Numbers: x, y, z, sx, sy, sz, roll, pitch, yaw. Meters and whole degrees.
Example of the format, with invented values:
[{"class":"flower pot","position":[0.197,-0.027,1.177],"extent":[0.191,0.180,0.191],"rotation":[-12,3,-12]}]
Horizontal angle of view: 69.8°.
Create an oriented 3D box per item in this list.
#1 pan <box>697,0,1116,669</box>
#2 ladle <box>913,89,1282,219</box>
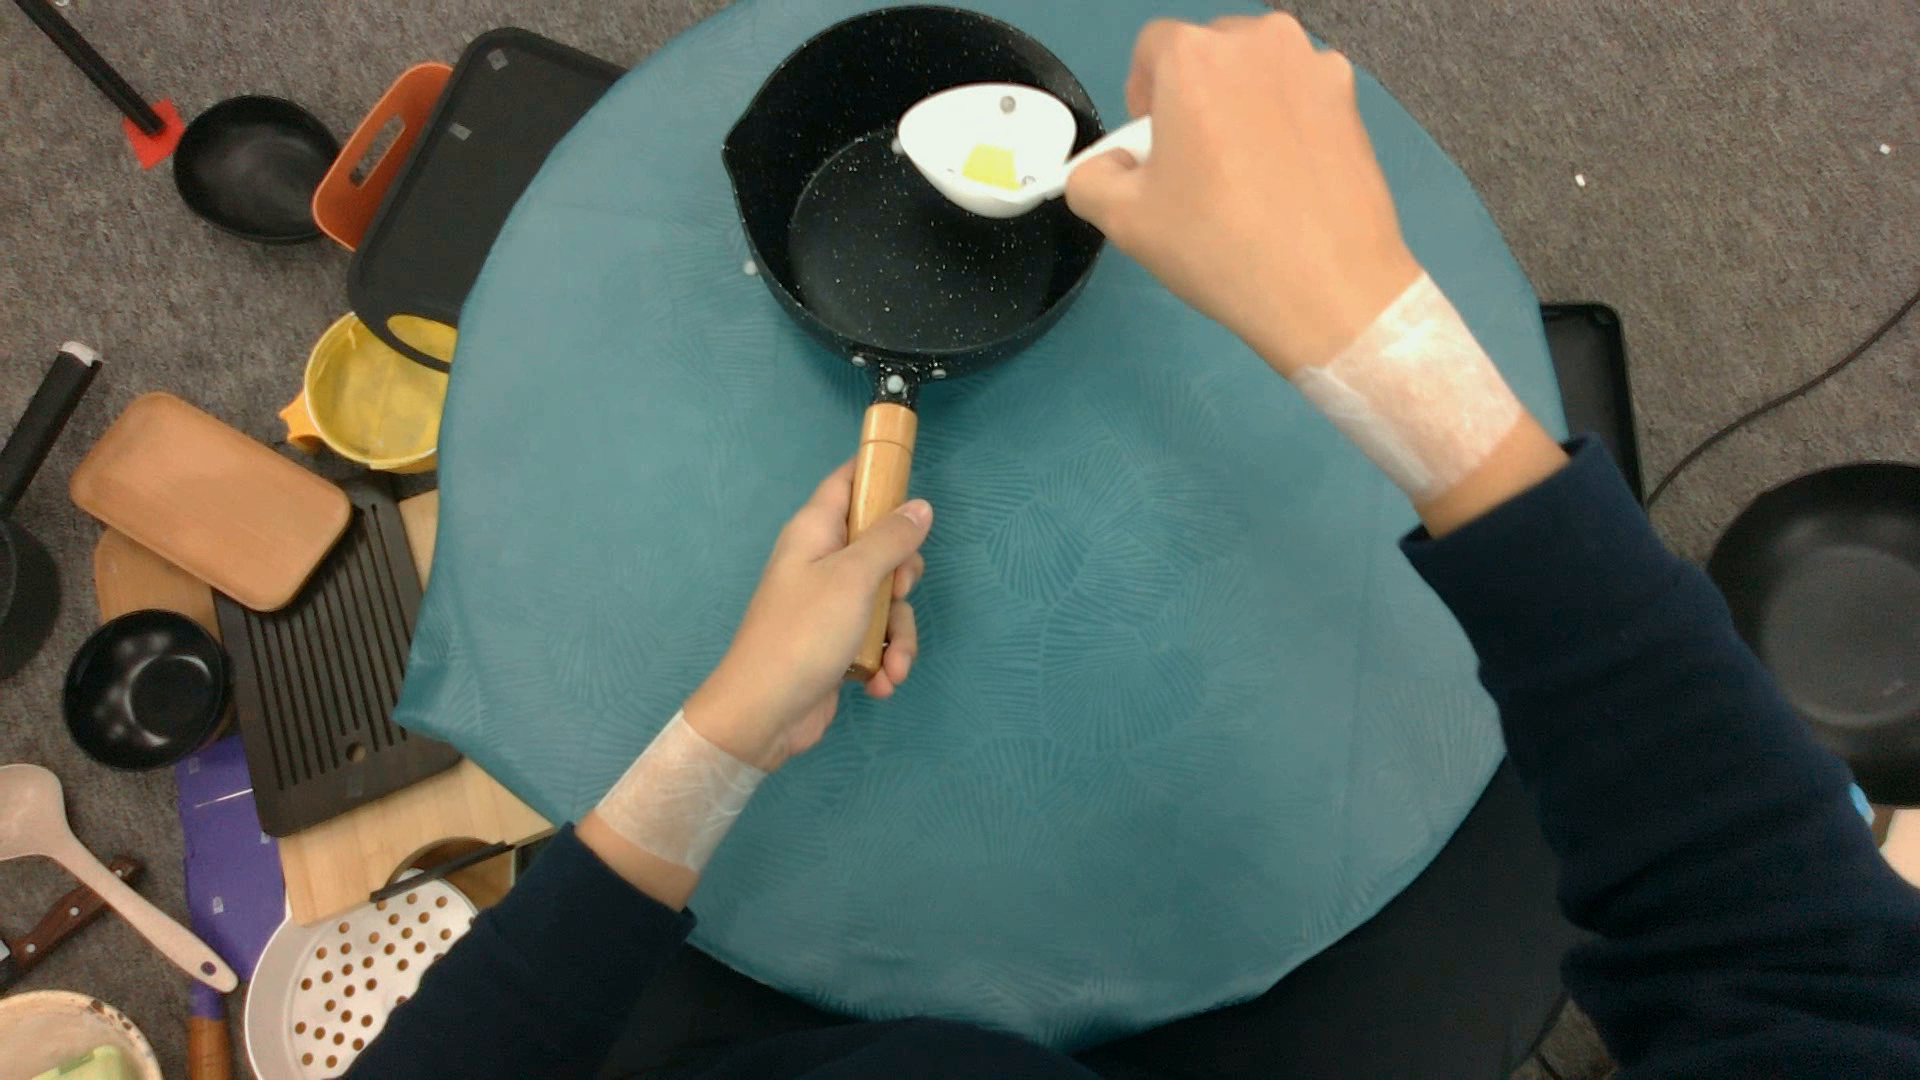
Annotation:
[{"class":"pan","position":[-0.035,-0.099,0.681],"extent":[0.207,0.108,0.343],"rotation":[7,75,-3]},{"class":"ladle","position":[0.053,-0.172,0.590],"extent":[0.090,0.293,0.070],"rotation":[-6,103,-15]}]
